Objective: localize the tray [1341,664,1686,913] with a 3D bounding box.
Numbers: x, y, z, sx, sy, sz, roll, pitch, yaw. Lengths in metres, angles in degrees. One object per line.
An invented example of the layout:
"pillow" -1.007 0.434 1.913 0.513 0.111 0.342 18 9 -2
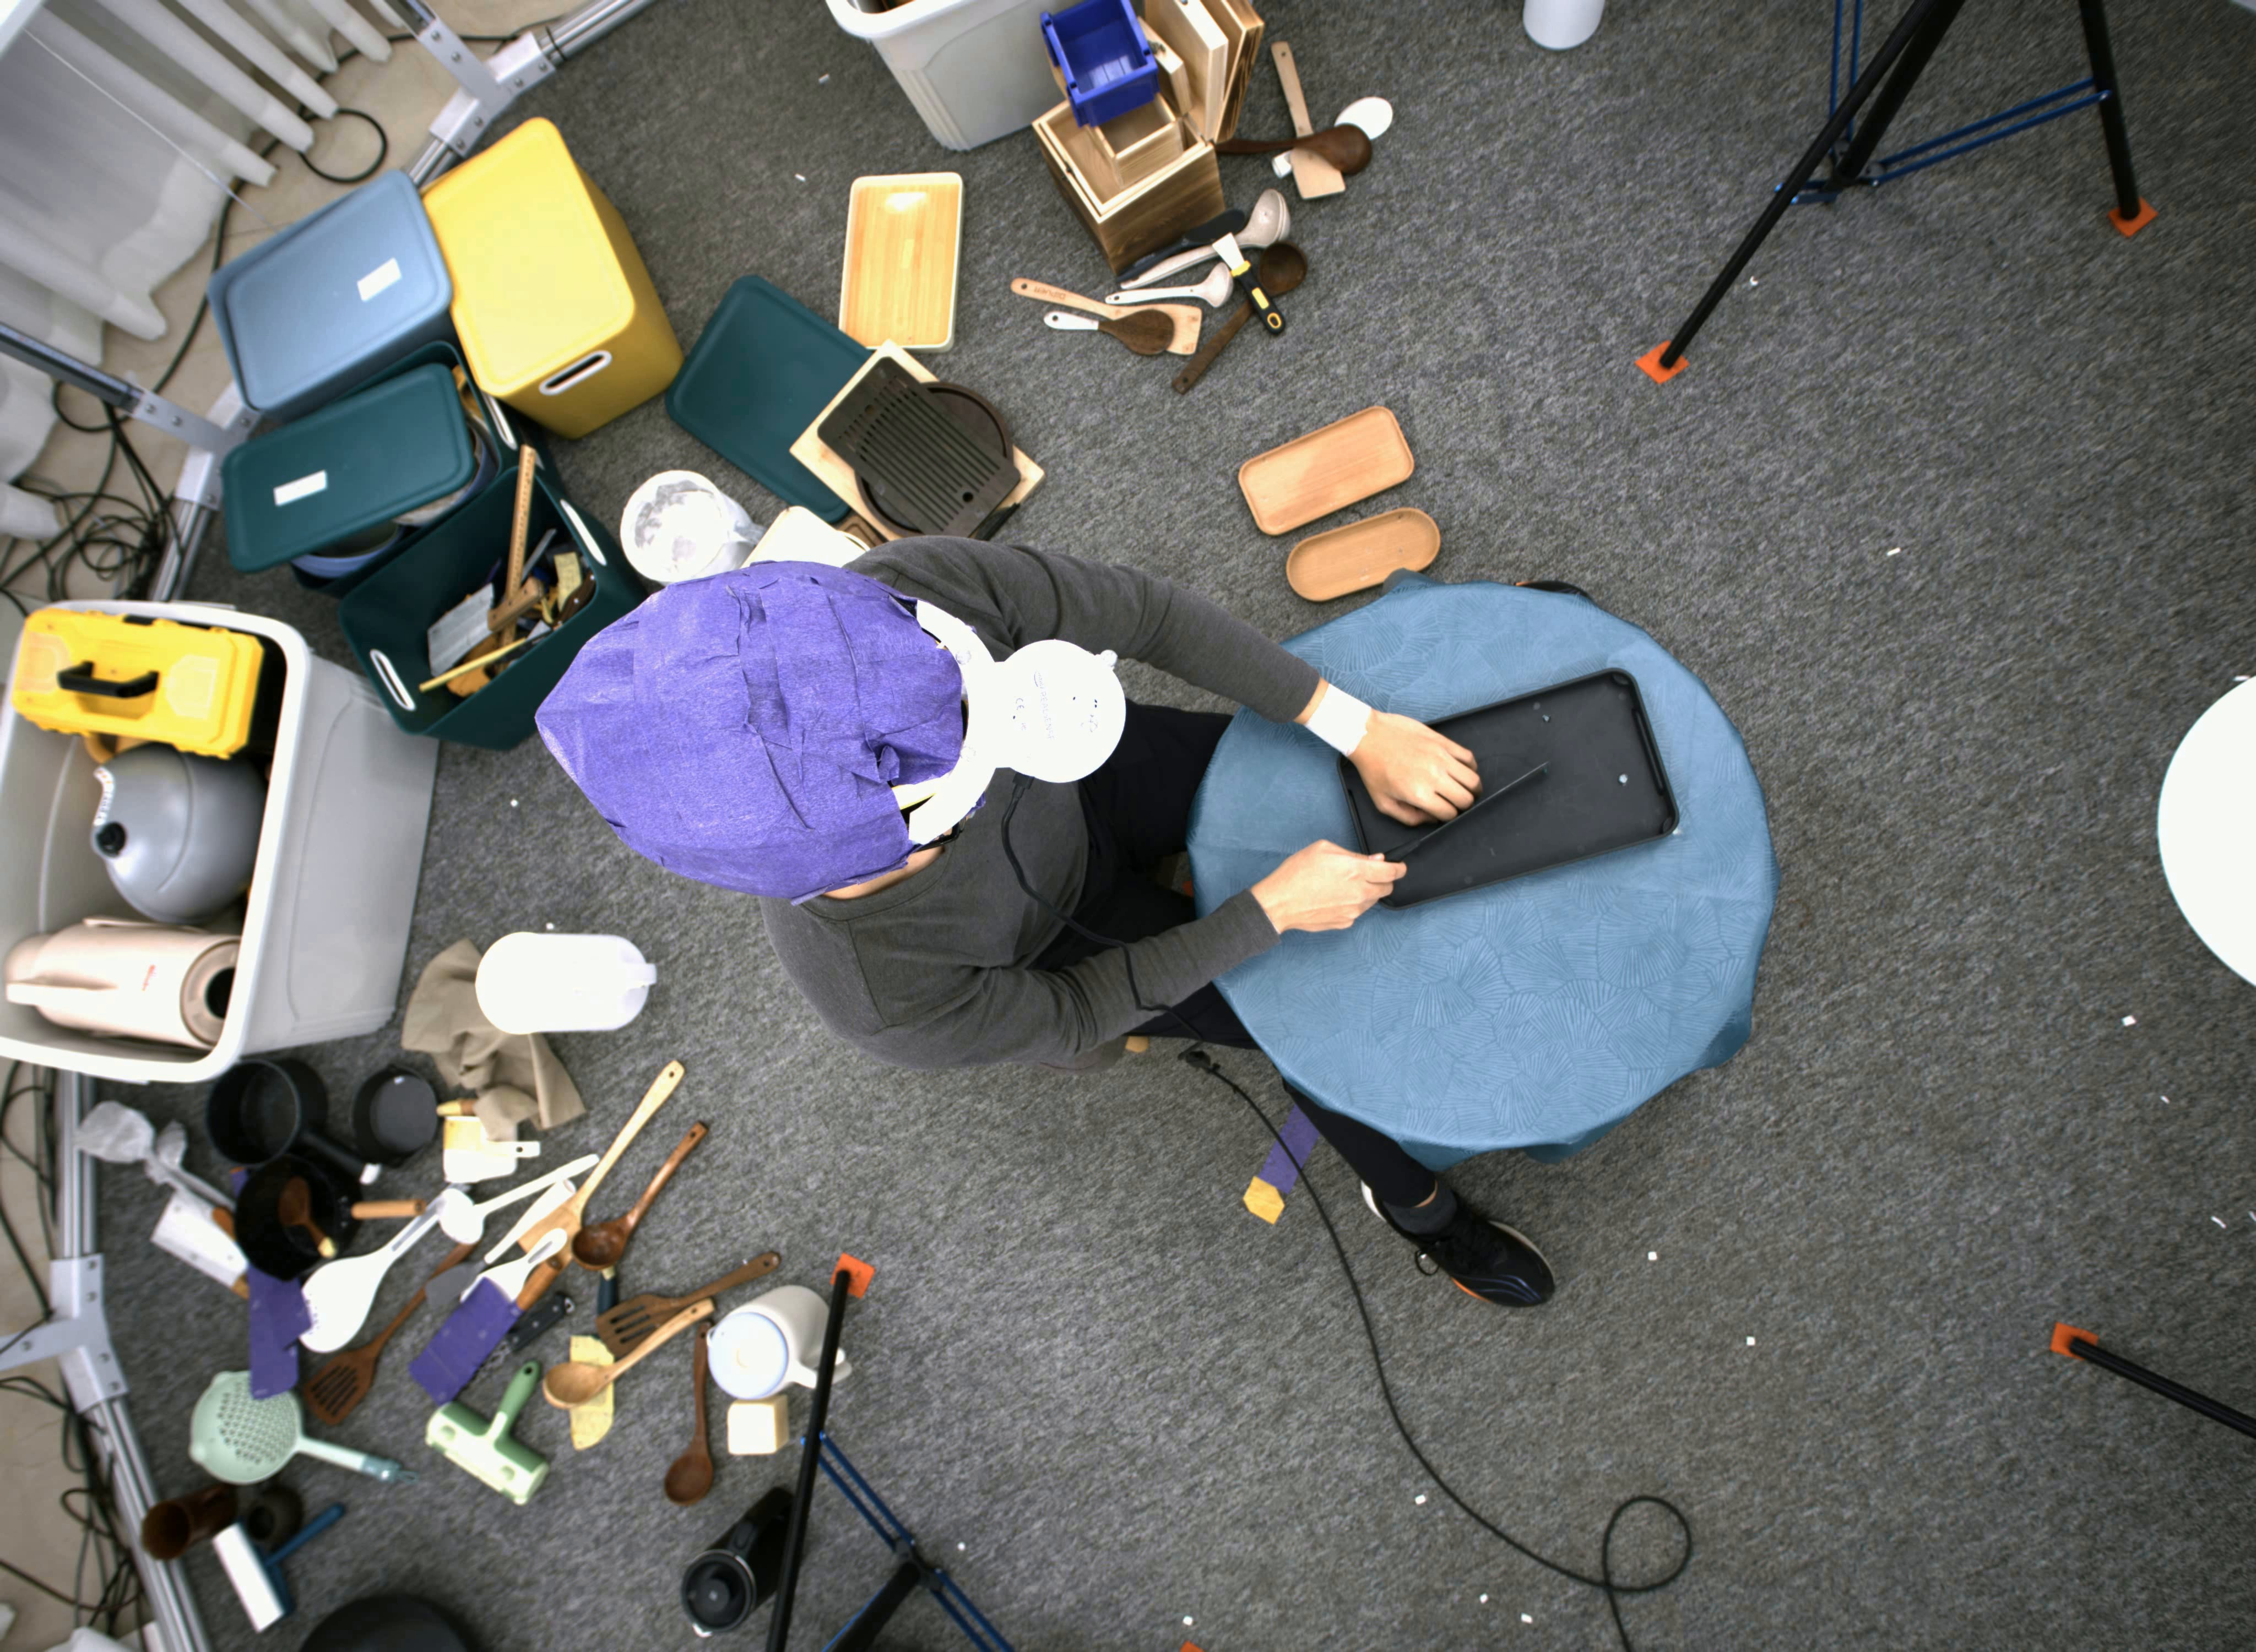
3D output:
"tray" 0.395 -0.039 1.424 0.320 0.037 0.183 -18 83 9

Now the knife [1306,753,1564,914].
"knife" 0.314 0.005 1.411 0.303 0.081 0.021 -31 81 3
